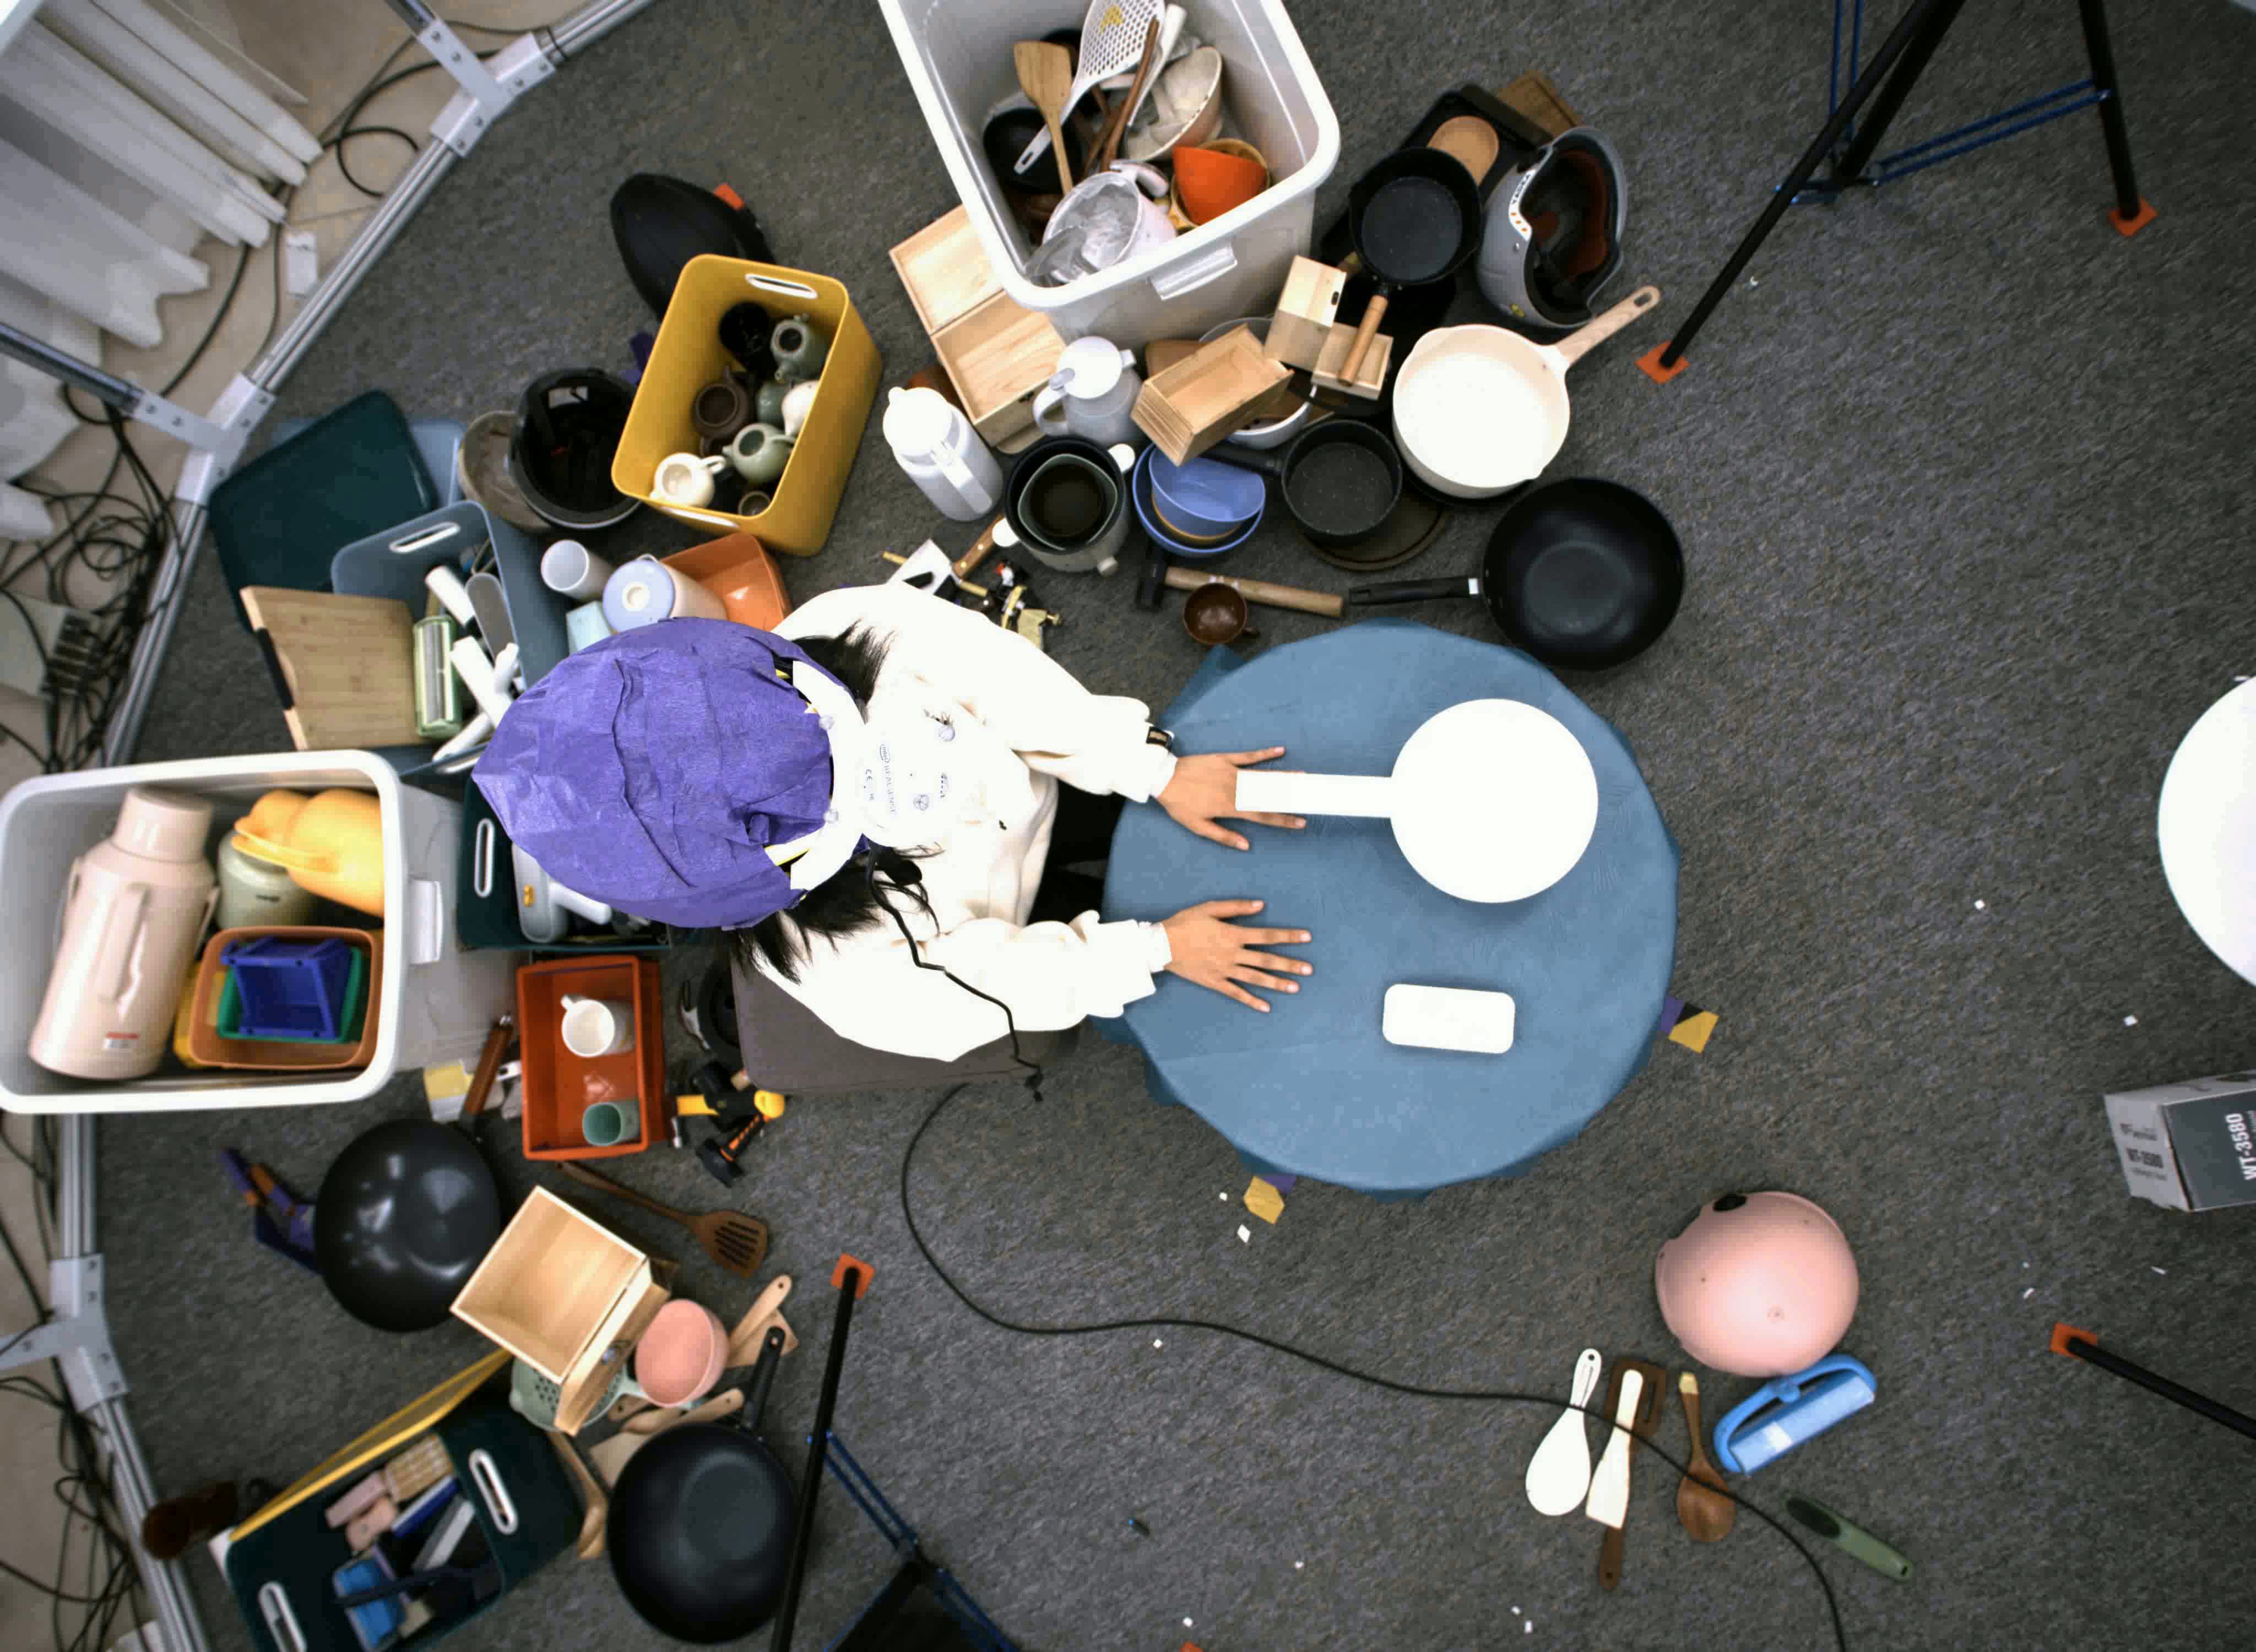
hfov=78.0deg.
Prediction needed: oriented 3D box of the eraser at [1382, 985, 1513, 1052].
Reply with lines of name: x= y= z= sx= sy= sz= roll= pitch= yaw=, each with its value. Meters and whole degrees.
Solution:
eraser: x=0.330 y=0.196 z=1.427 sx=0.132 sy=0.034 sz=0.063 roll=4 pitch=85 yaw=10

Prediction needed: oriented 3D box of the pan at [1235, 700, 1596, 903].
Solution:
pan: x=0.291 y=-0.025 z=1.412 sx=0.356 sy=0.102 sz=0.200 roll=2 pitch=85 yaw=13
